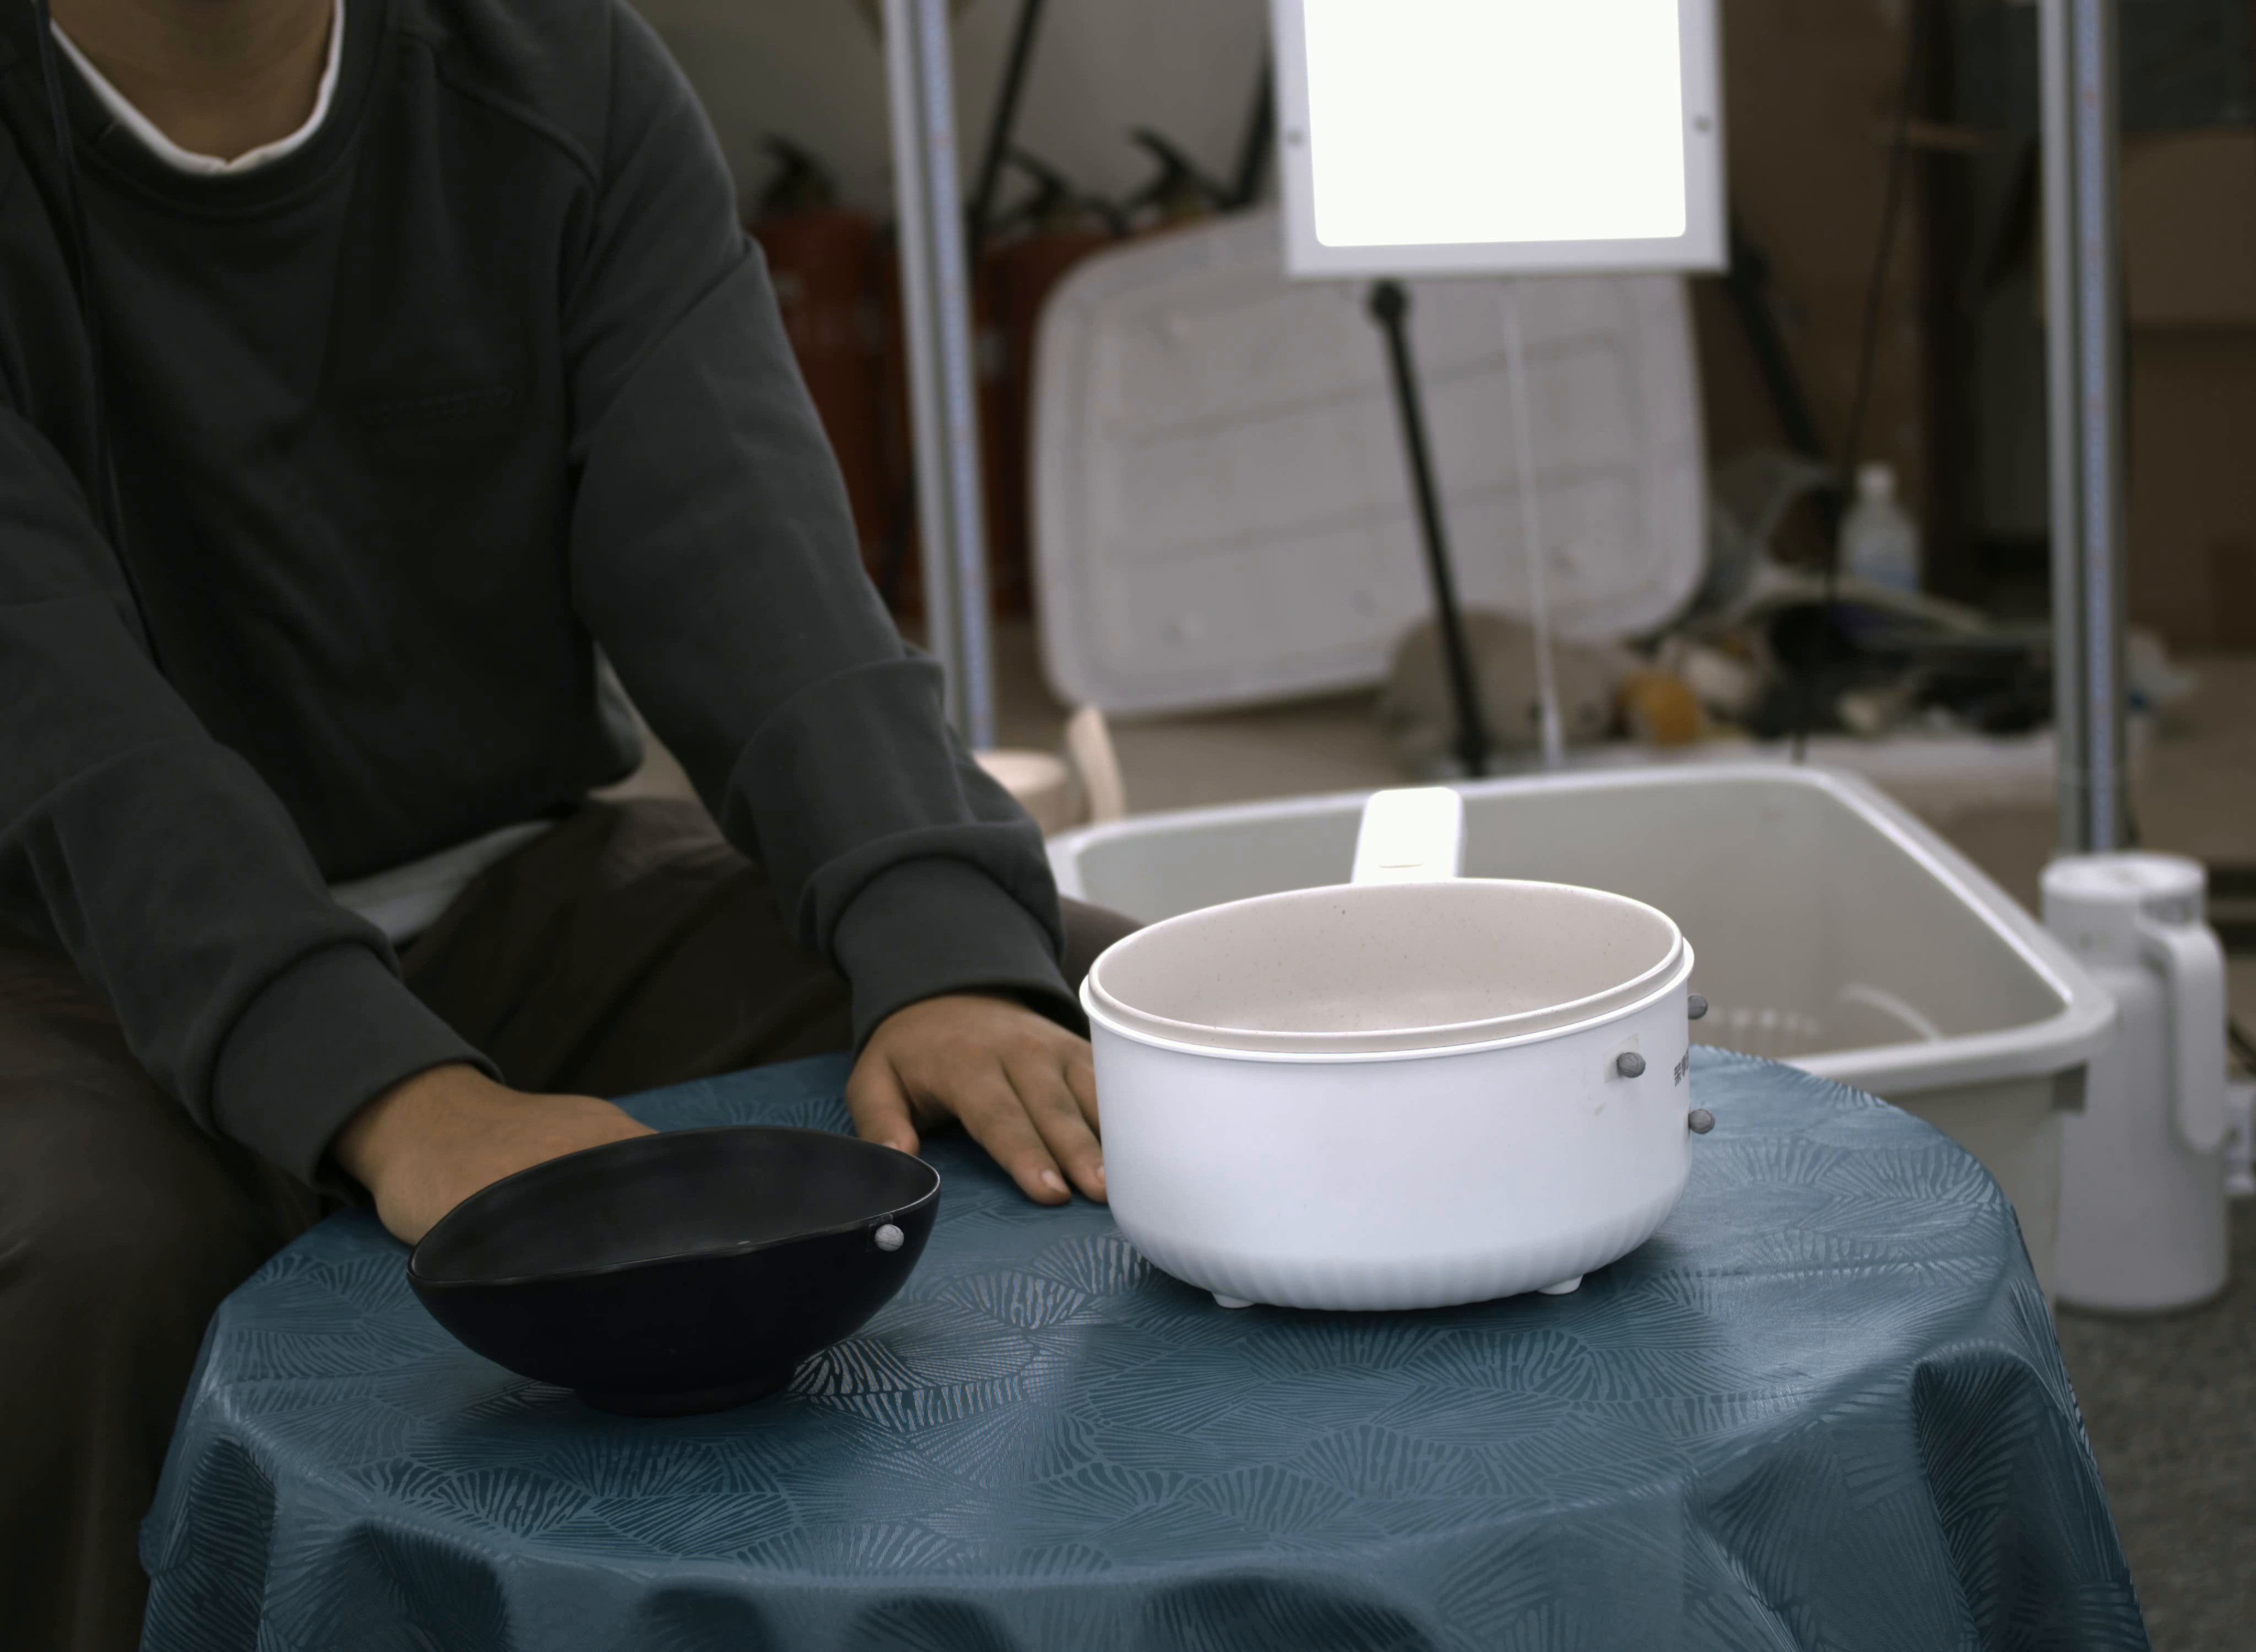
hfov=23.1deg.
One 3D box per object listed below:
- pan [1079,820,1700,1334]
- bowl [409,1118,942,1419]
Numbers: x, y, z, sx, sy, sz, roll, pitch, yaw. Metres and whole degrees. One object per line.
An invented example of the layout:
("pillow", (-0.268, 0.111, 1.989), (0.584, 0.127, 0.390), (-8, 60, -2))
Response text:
("pan", (0.095, 0.081, 1.878), (0.202, 0.102, 0.352), (-7, 11, 7))
("bowl", (-0.139, 0.145, 1.734), (0.168, 0.067, 0.138), (-9, 14, -11))
